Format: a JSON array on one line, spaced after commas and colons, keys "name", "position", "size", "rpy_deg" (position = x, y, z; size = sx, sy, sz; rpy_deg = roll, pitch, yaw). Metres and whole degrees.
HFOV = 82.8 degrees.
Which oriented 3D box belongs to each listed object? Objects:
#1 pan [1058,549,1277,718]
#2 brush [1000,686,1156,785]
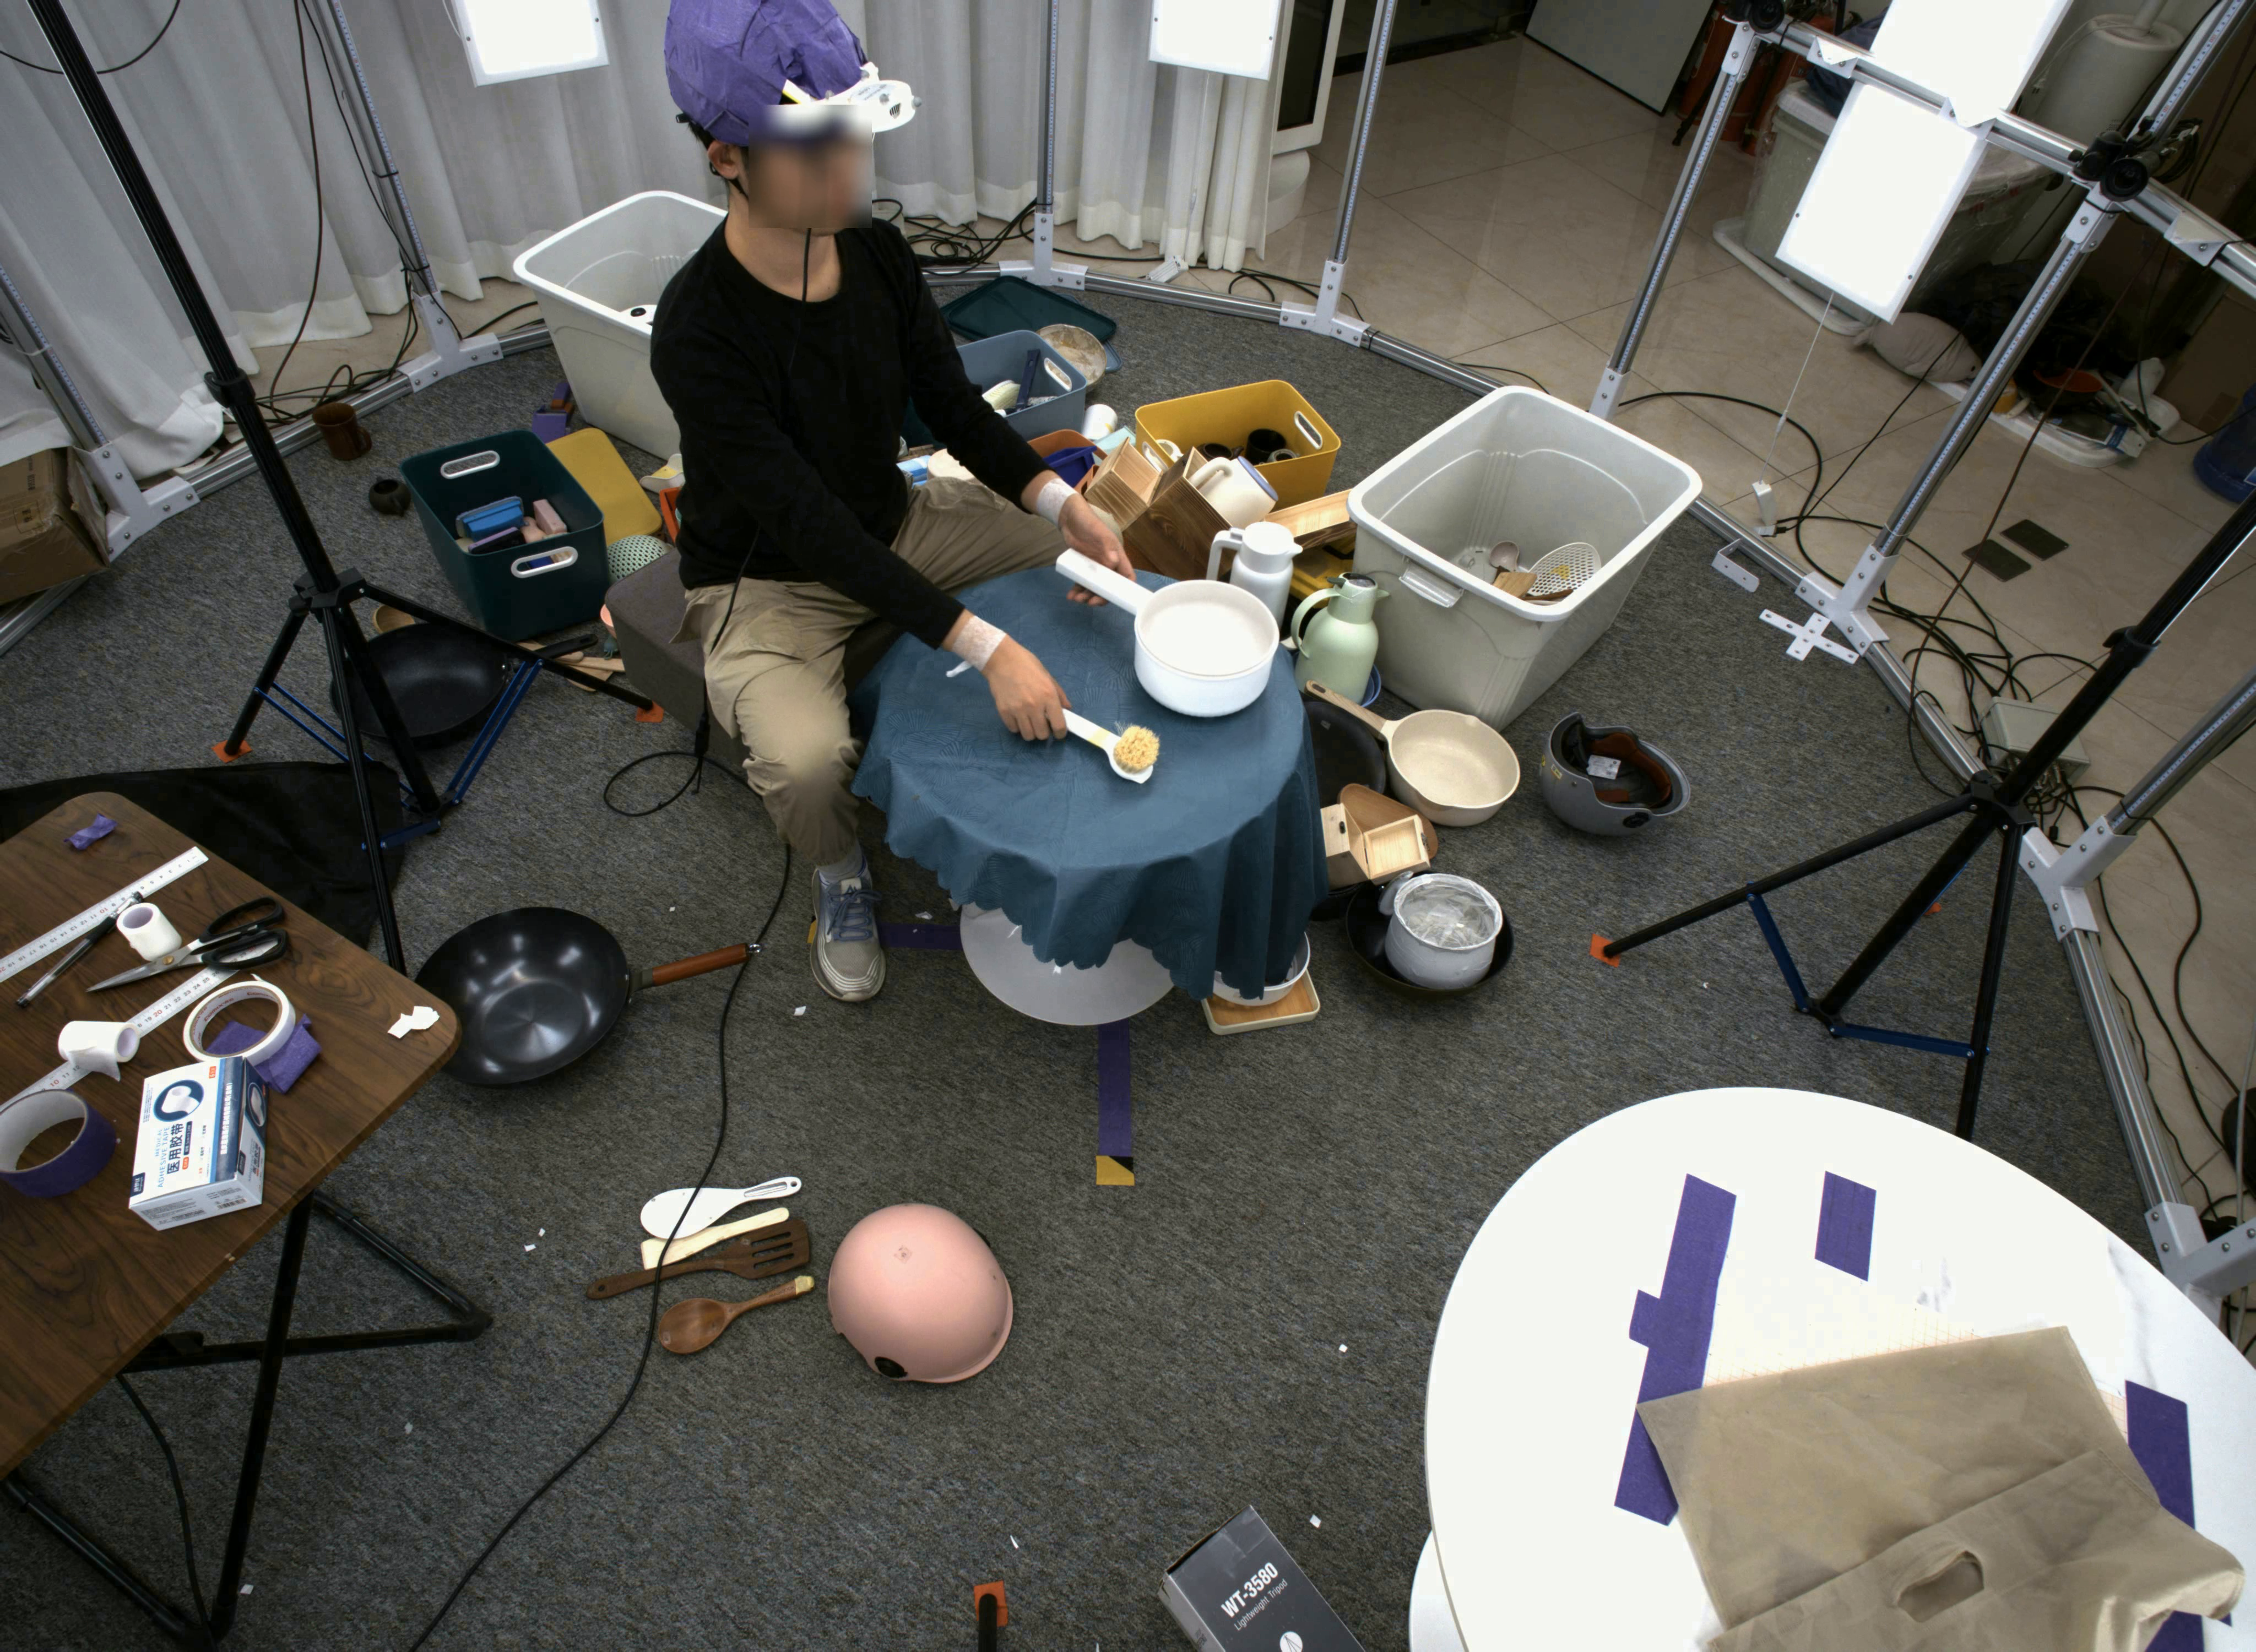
[{"name": "pan", "position": [0.045, -0.284, 1.857], "size": [0.359, 0.099, 0.204], "rpy_deg": [31, 55, 22]}, {"name": "brush", "position": [-0.074, -0.143, 1.755], "size": [0.270, 0.055, 0.069], "rpy_deg": [34, 50, 24]}]
